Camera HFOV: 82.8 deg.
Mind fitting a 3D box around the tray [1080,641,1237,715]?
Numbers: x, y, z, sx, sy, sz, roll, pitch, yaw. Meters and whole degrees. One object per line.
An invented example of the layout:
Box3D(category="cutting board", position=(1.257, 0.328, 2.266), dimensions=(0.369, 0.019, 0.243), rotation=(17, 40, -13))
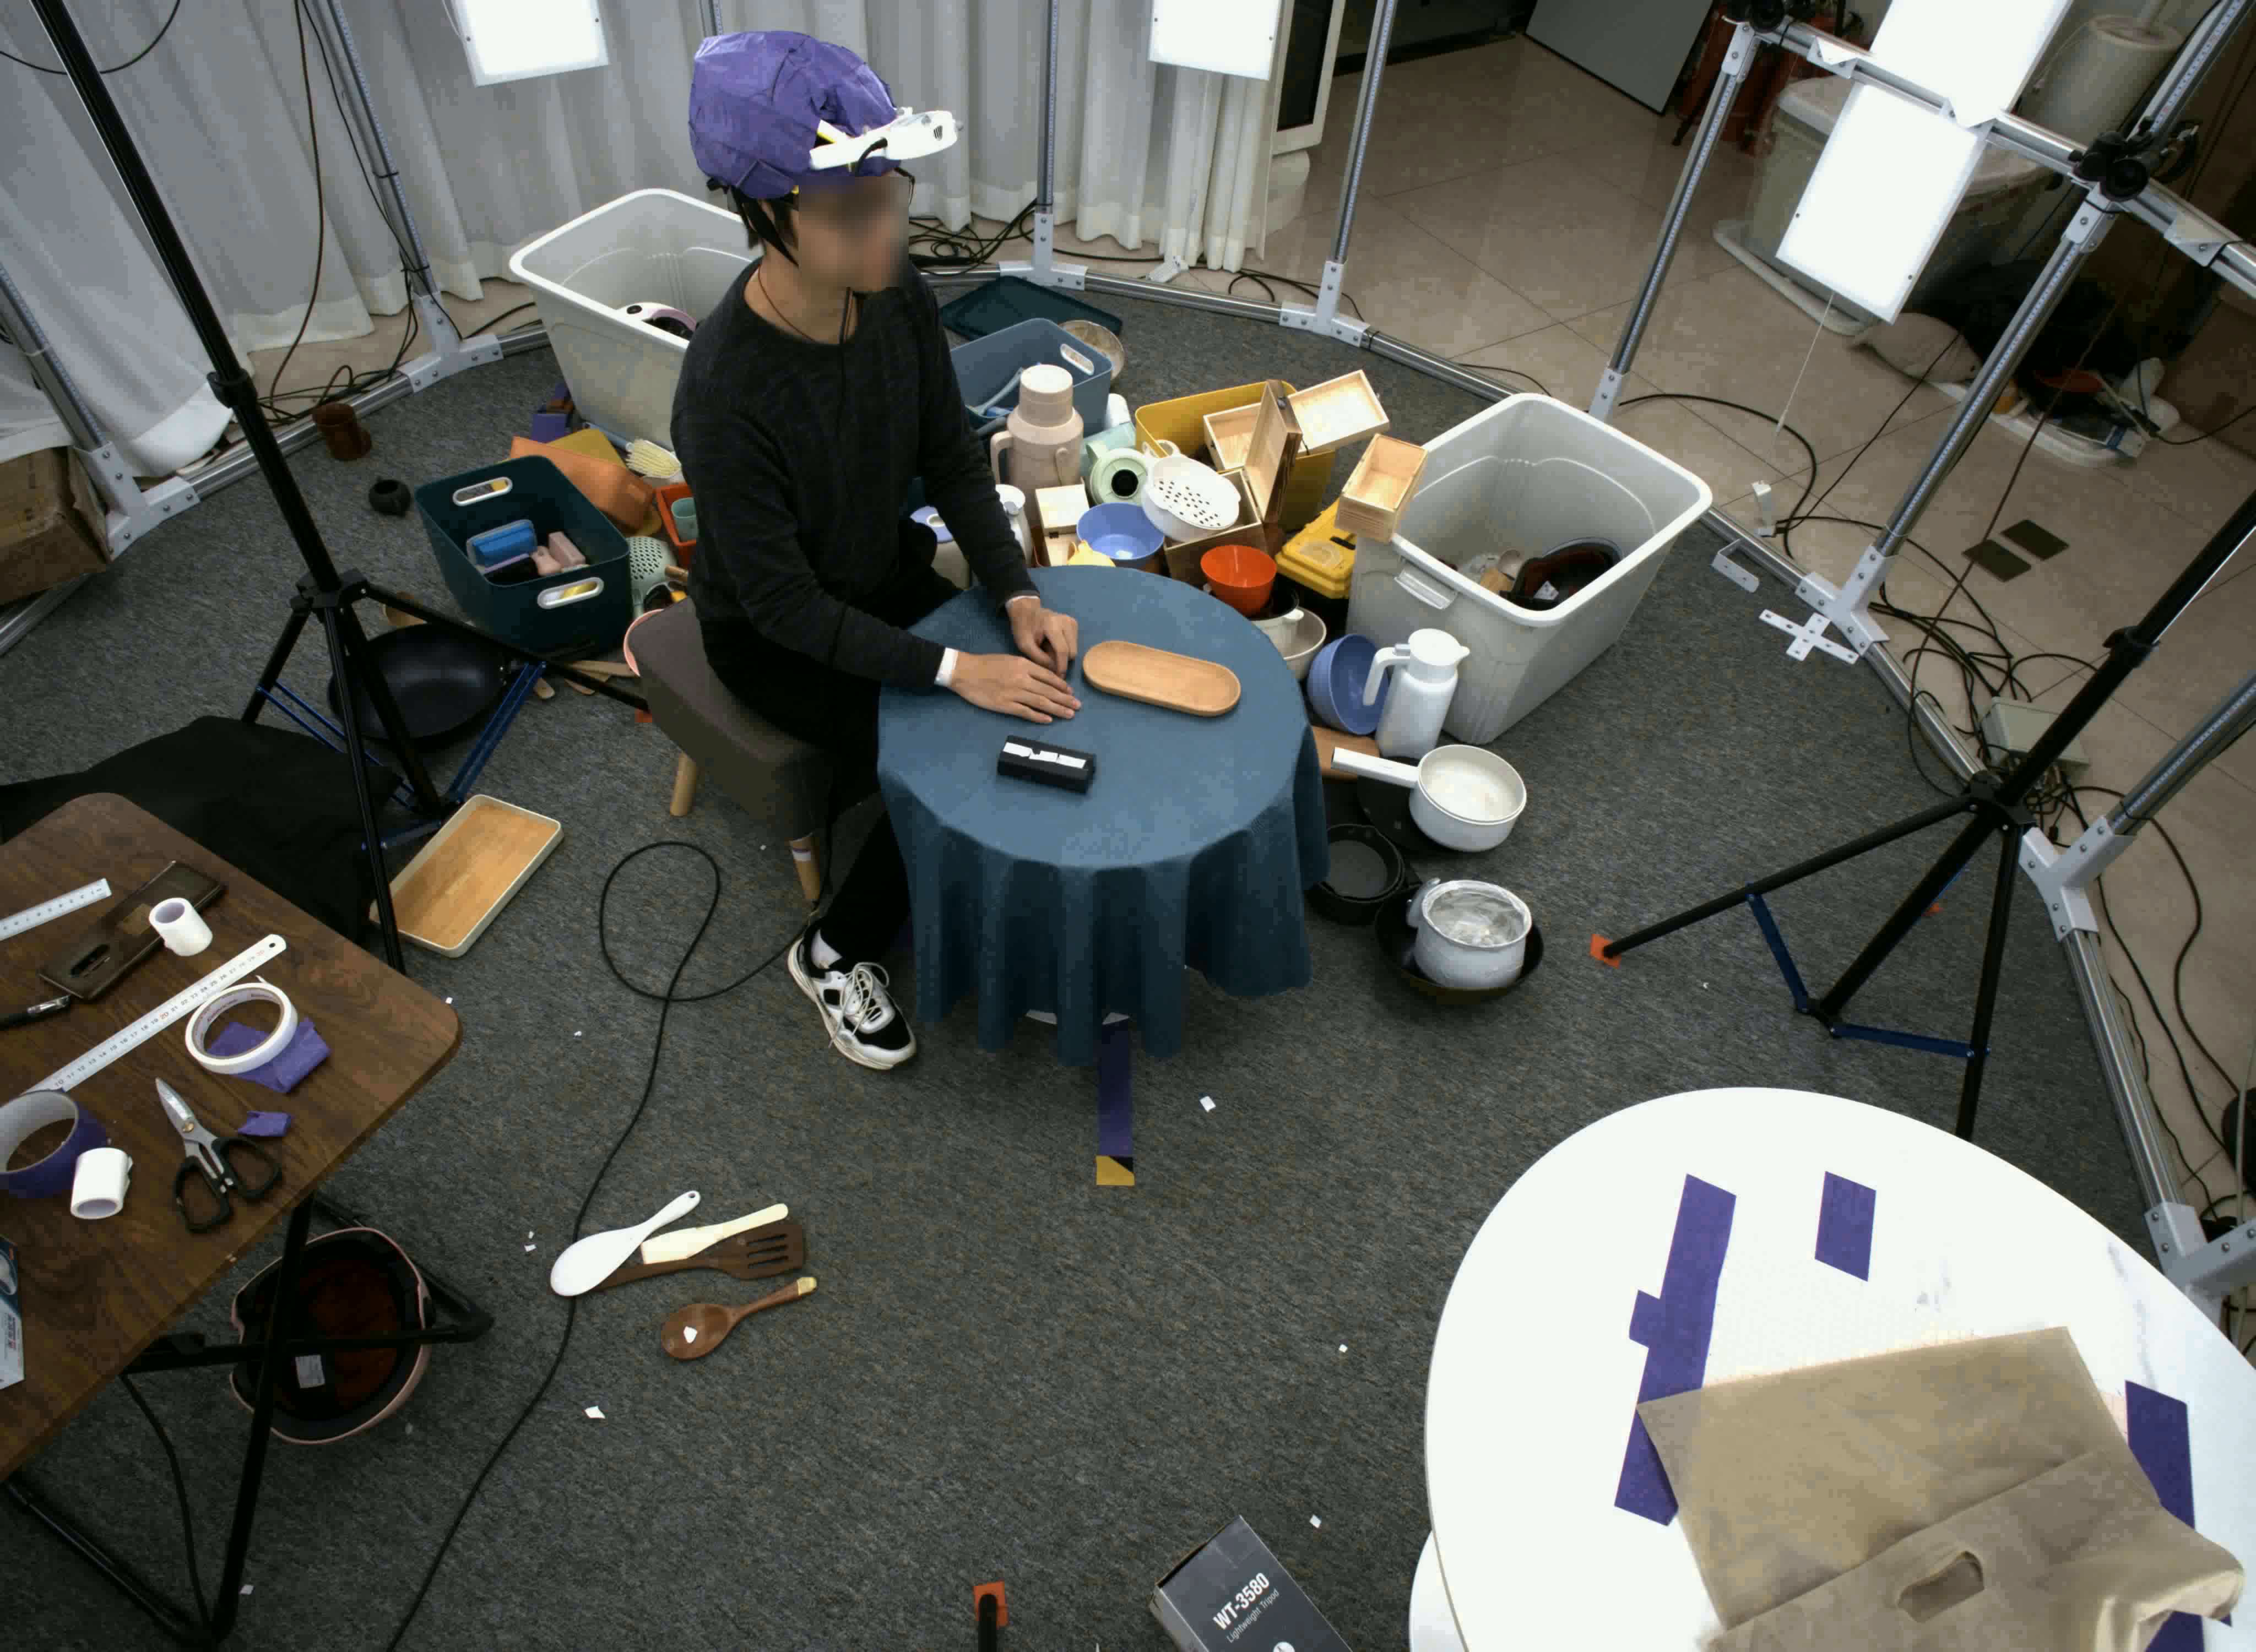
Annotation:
Box3D(category="tray", position=(0.043, -0.213, 1.847), dimensions=(0.232, 0.020, 0.104), rotation=(13, 48, 9))

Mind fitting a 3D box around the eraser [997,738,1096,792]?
Box3D(category="eraser", position=(-0.108, -0.083, 1.716), dimensions=(0.126, 0.030, 0.055), rotation=(12, 47, 8))
